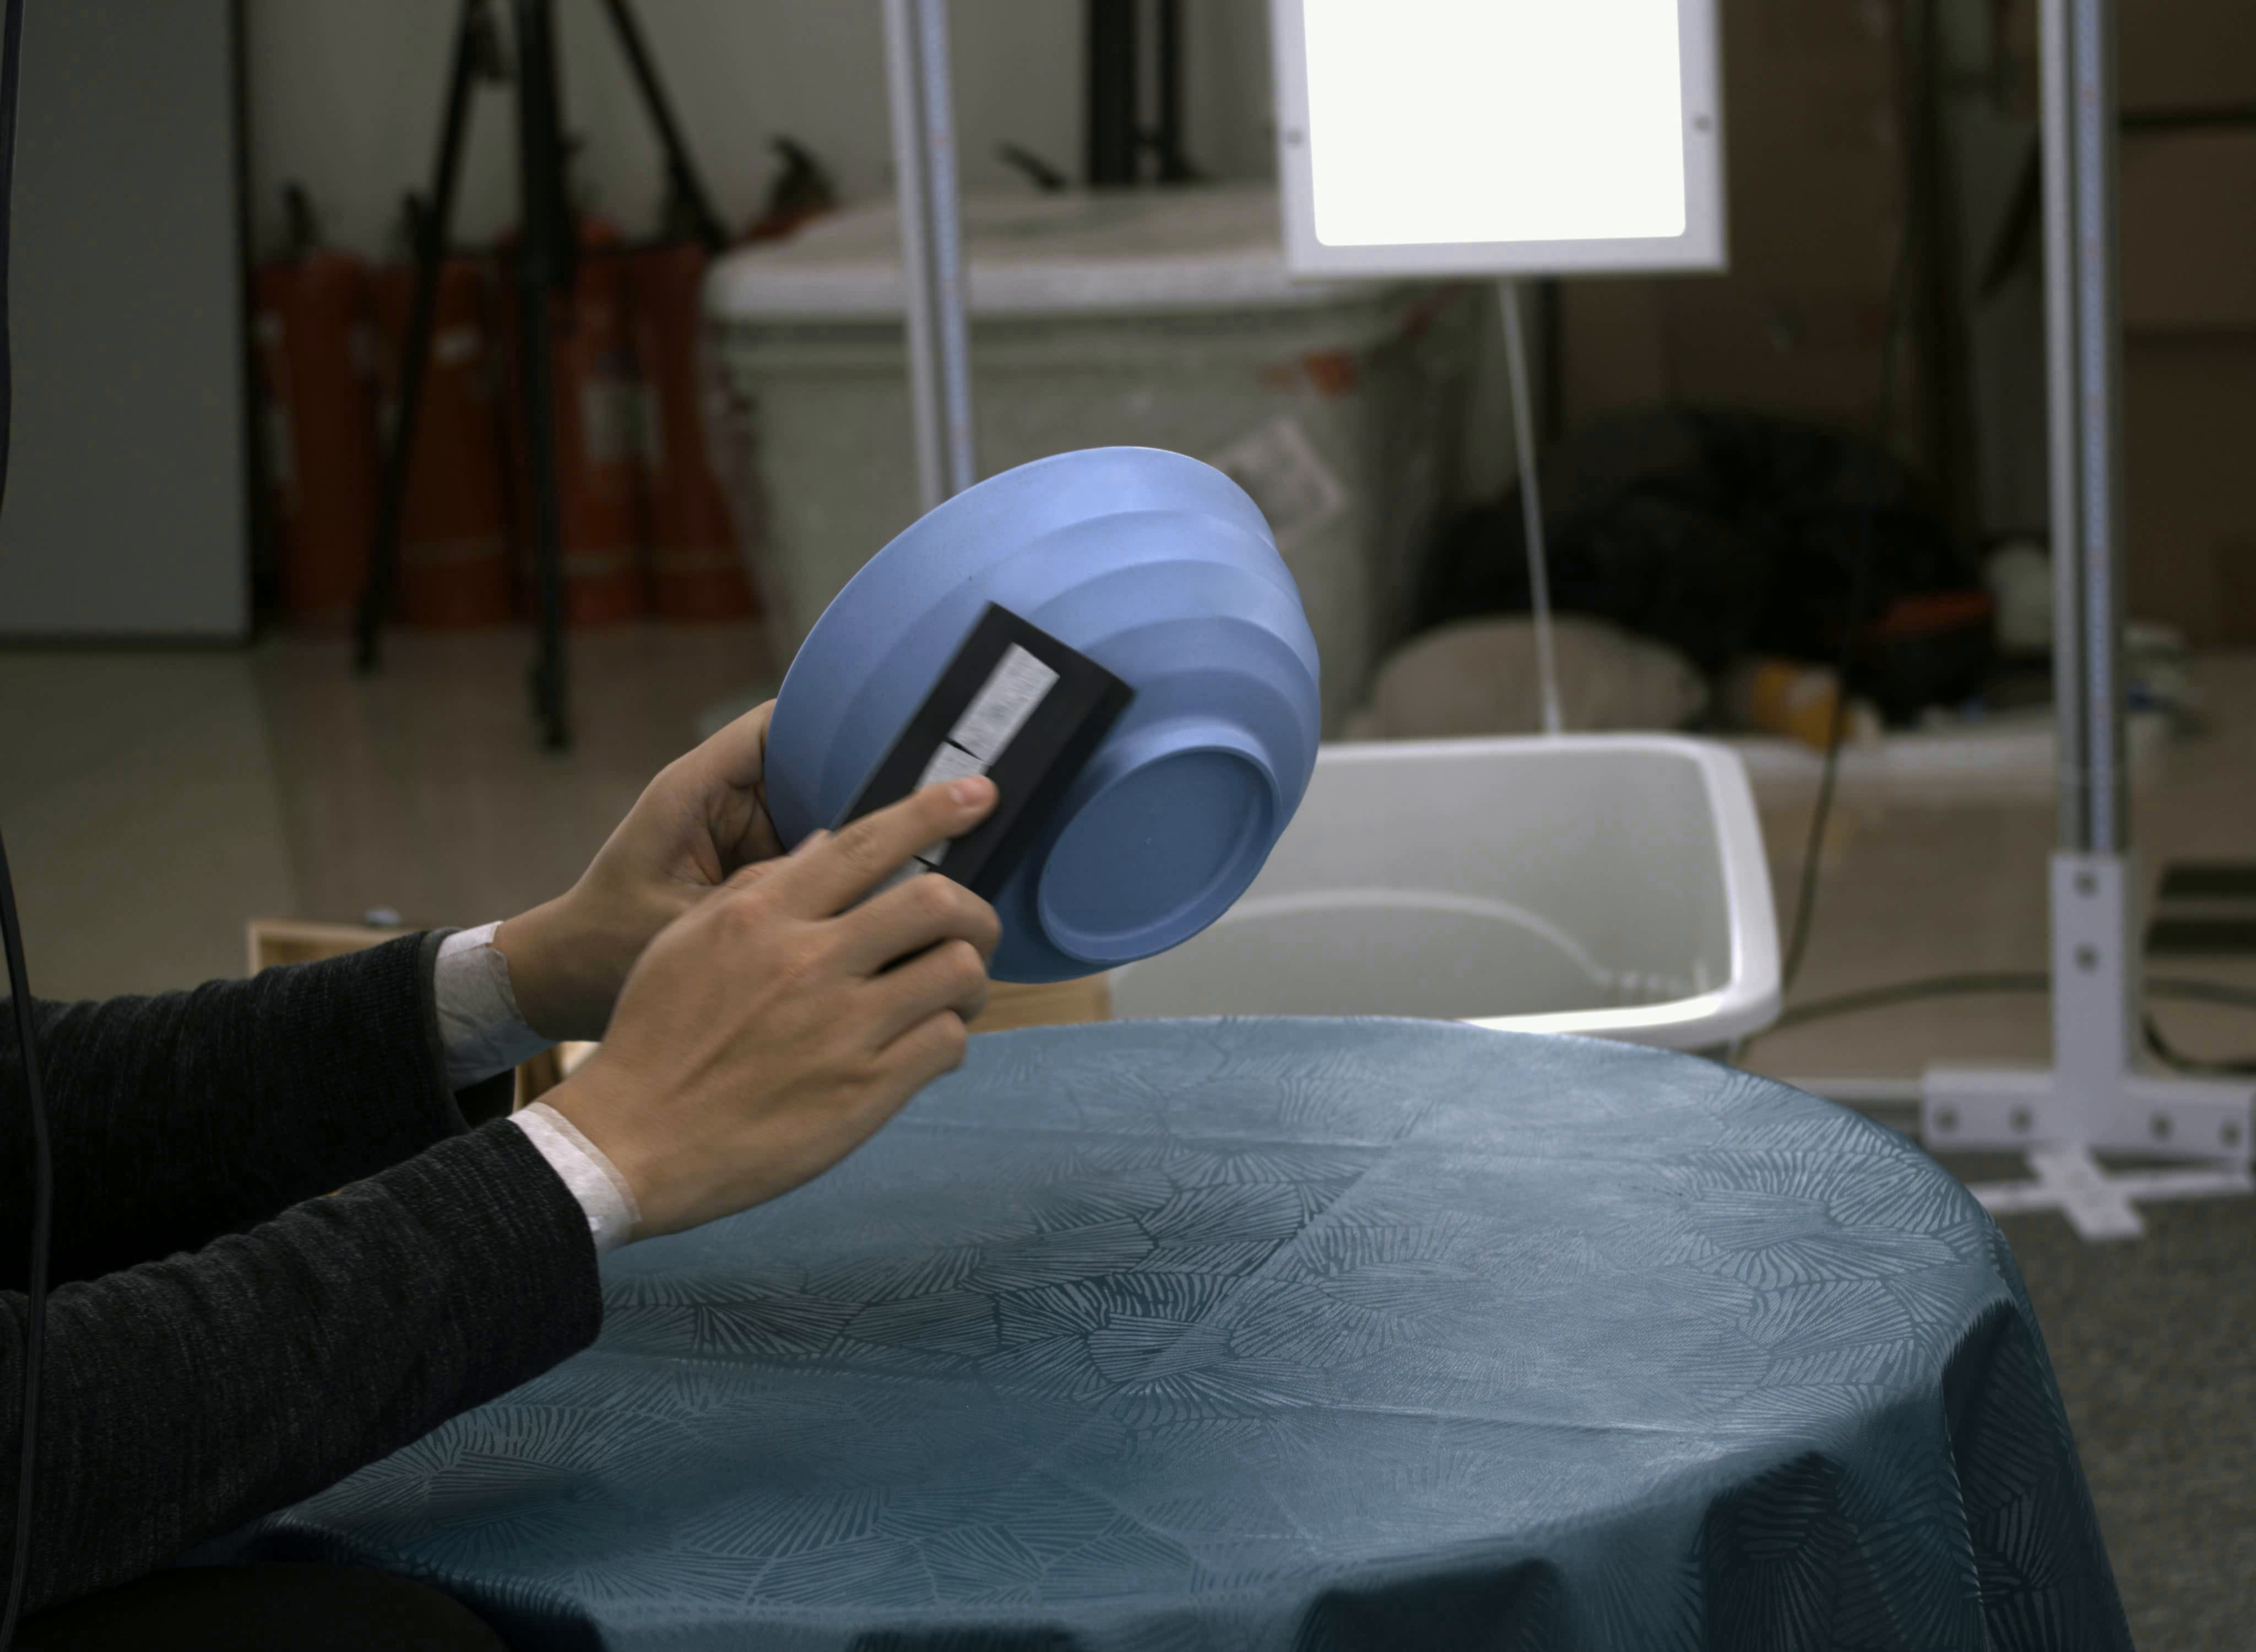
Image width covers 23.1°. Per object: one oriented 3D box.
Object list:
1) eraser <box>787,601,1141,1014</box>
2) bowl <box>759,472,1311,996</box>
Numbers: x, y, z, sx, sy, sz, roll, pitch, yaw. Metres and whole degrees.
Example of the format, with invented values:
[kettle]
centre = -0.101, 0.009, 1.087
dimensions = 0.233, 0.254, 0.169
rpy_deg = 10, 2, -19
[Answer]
[eraser]
centre = -0.050, -0.007, 1.718
dimensions = 0.054, 0.125, 0.030
rpy_deg = 30, -7, 24
[bowl]
centre = -0.014, -0.012, 1.818
dimensions = 0.192, 0.199, 0.096
rpy_deg = -12, 50, -31
